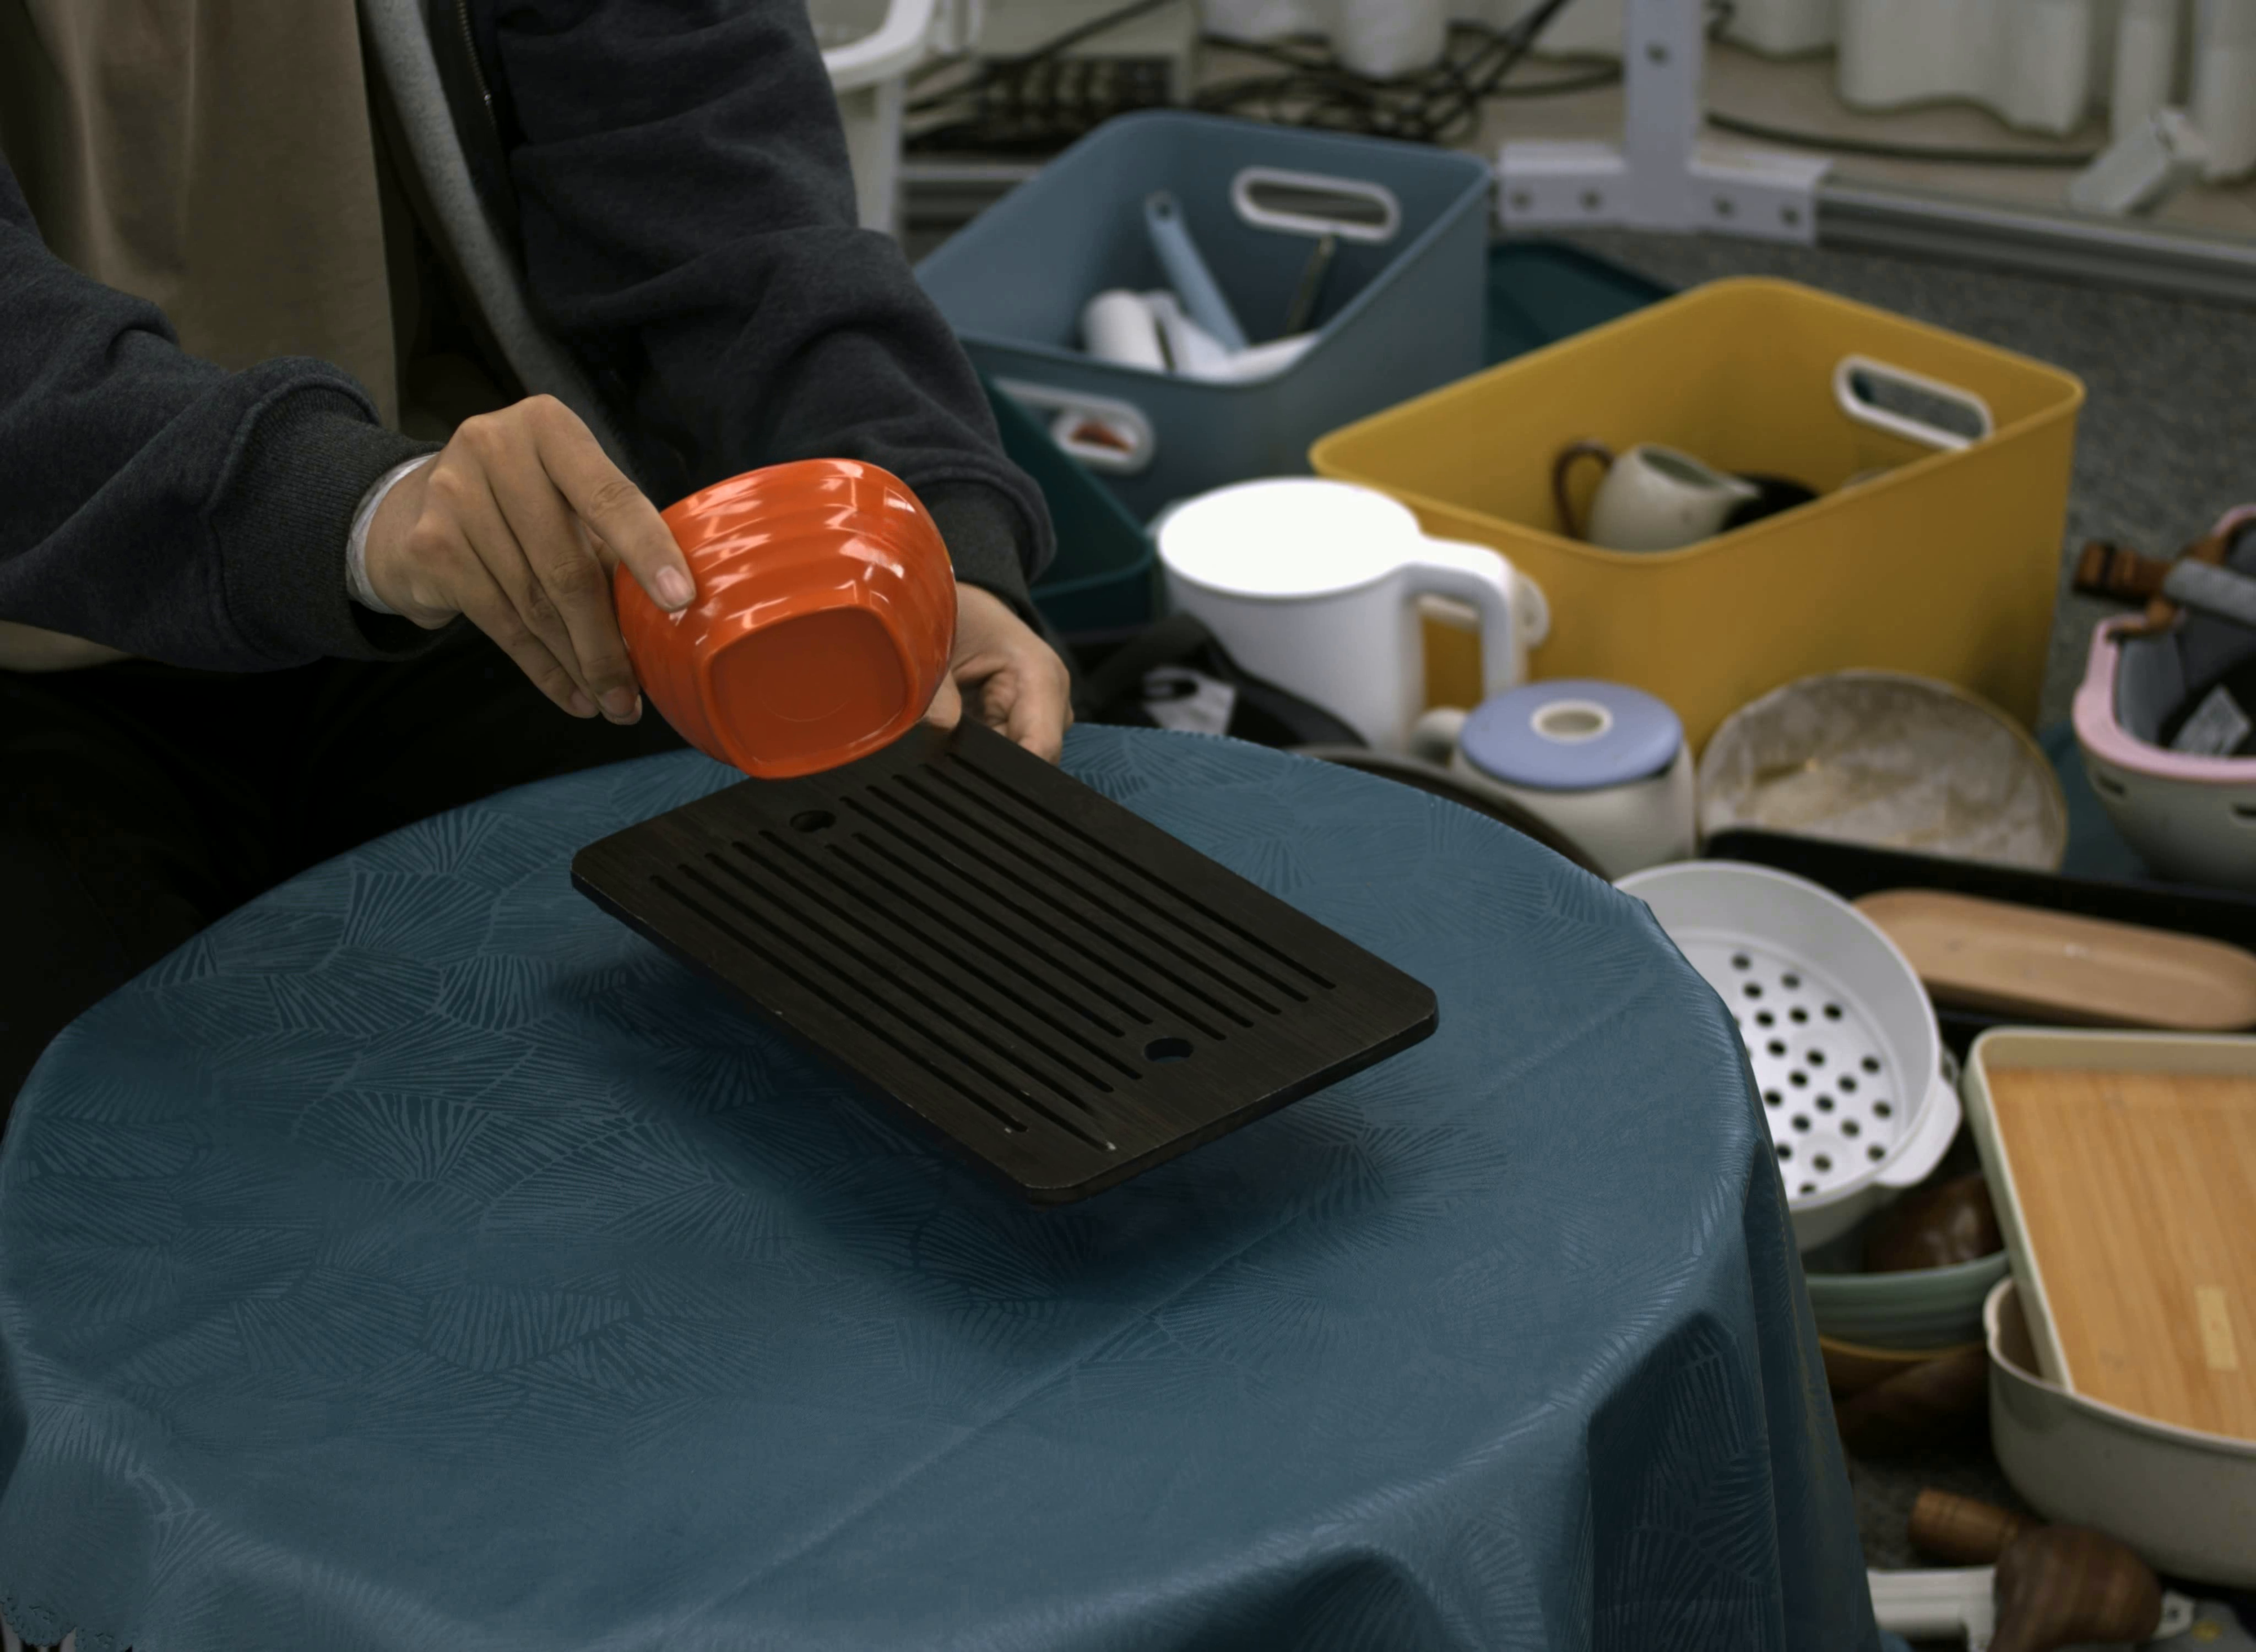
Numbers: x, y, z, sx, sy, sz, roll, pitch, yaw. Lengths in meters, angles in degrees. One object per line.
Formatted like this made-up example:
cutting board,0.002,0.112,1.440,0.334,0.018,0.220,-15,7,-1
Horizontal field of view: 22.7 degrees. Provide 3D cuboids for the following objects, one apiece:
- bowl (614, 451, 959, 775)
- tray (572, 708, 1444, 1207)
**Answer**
bowl,-0.106,-0.060,1.810,0.119,0.117,0.052,-7,42,-9
tray,-0.046,0.042,1.932,0.171,0.018,0.306,-23,33,-29
